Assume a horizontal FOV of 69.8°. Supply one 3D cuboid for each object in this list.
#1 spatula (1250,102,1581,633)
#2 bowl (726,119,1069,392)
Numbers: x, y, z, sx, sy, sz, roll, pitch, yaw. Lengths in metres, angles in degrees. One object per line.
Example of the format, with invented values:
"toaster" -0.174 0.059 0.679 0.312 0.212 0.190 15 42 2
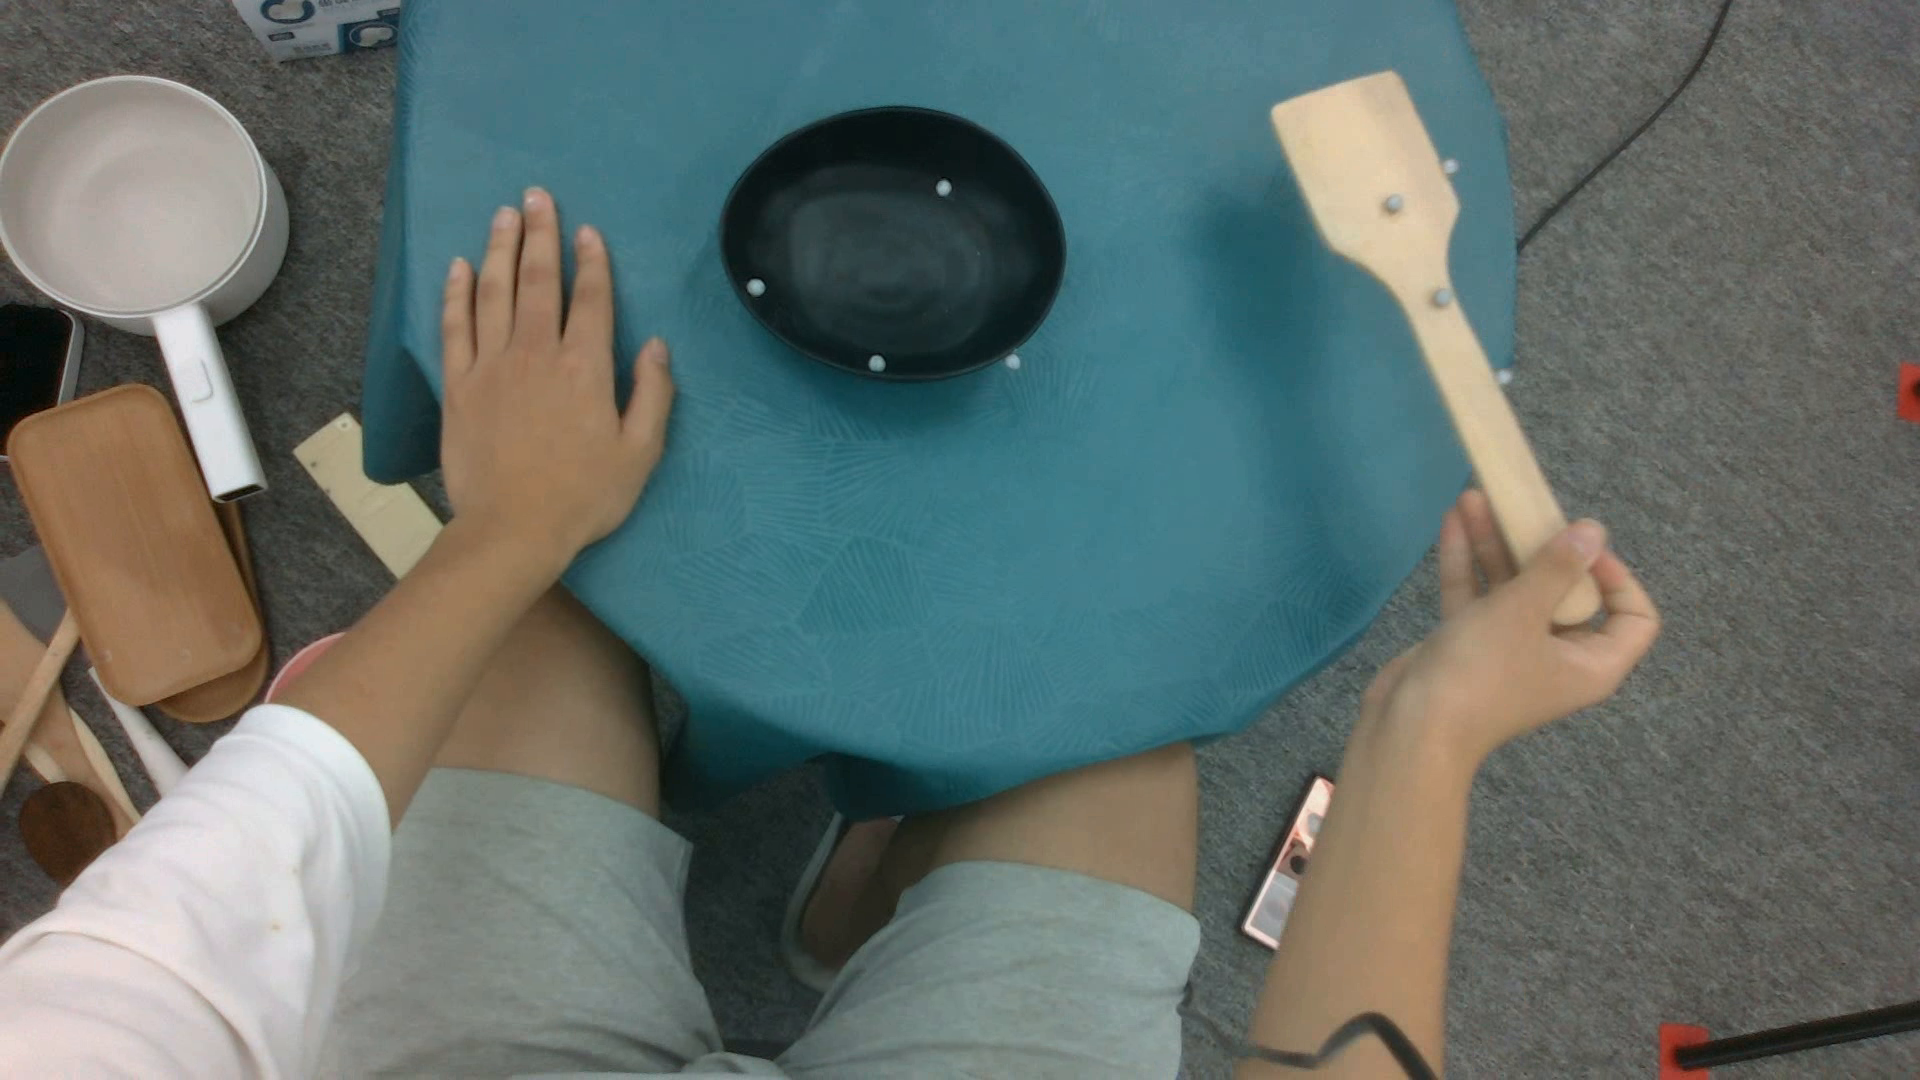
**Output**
"spatula" 0.229 -0.090 0.674 0.072 0.010 0.293 -17 71 -6
"bowl" -0.033 -0.137 0.704 0.170 0.066 0.137 0 83 -7
